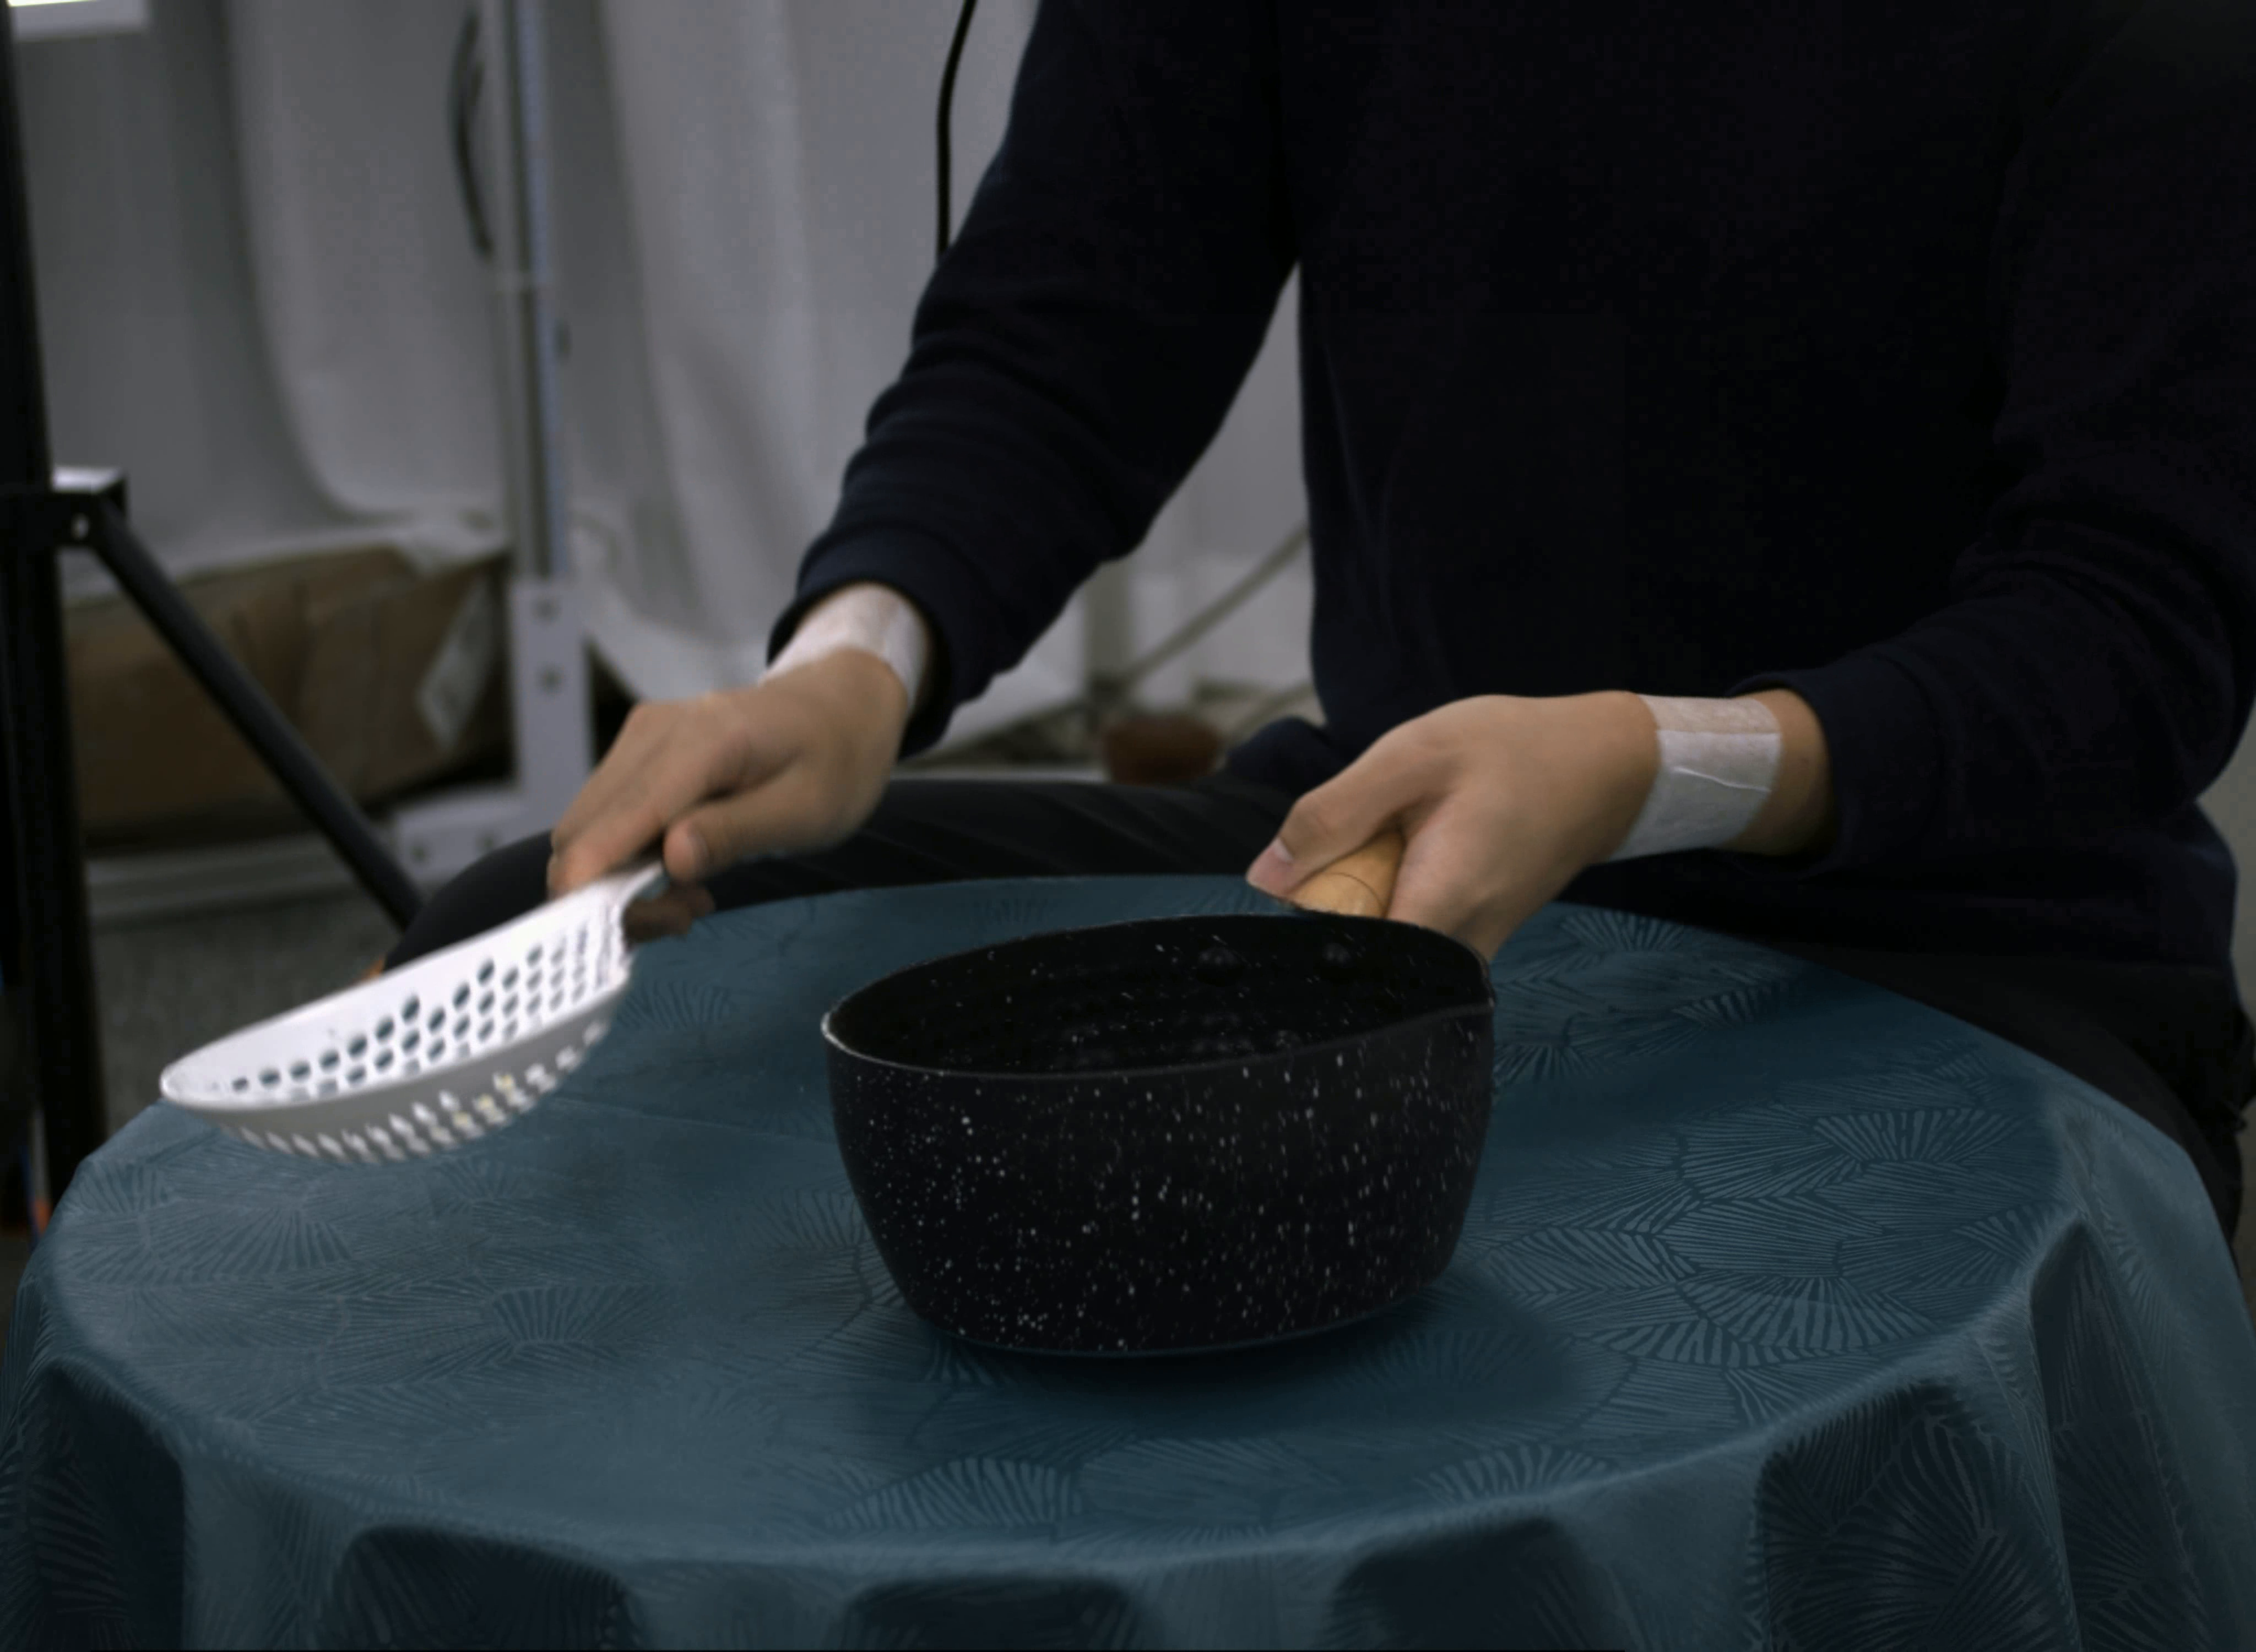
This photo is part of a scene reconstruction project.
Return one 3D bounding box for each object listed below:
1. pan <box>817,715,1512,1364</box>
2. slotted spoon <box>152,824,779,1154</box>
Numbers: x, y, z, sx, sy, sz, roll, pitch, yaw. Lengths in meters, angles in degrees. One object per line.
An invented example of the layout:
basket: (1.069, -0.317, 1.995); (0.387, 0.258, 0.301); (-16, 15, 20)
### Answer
pan: (0.040, 0.057, 1.529); (0.210, 0.108, 0.338); (-2, 13, 24)
slotted spoon: (-0.168, 0.034, 1.599); (0.138, 0.050, 0.345); (-11, 15, 21)
